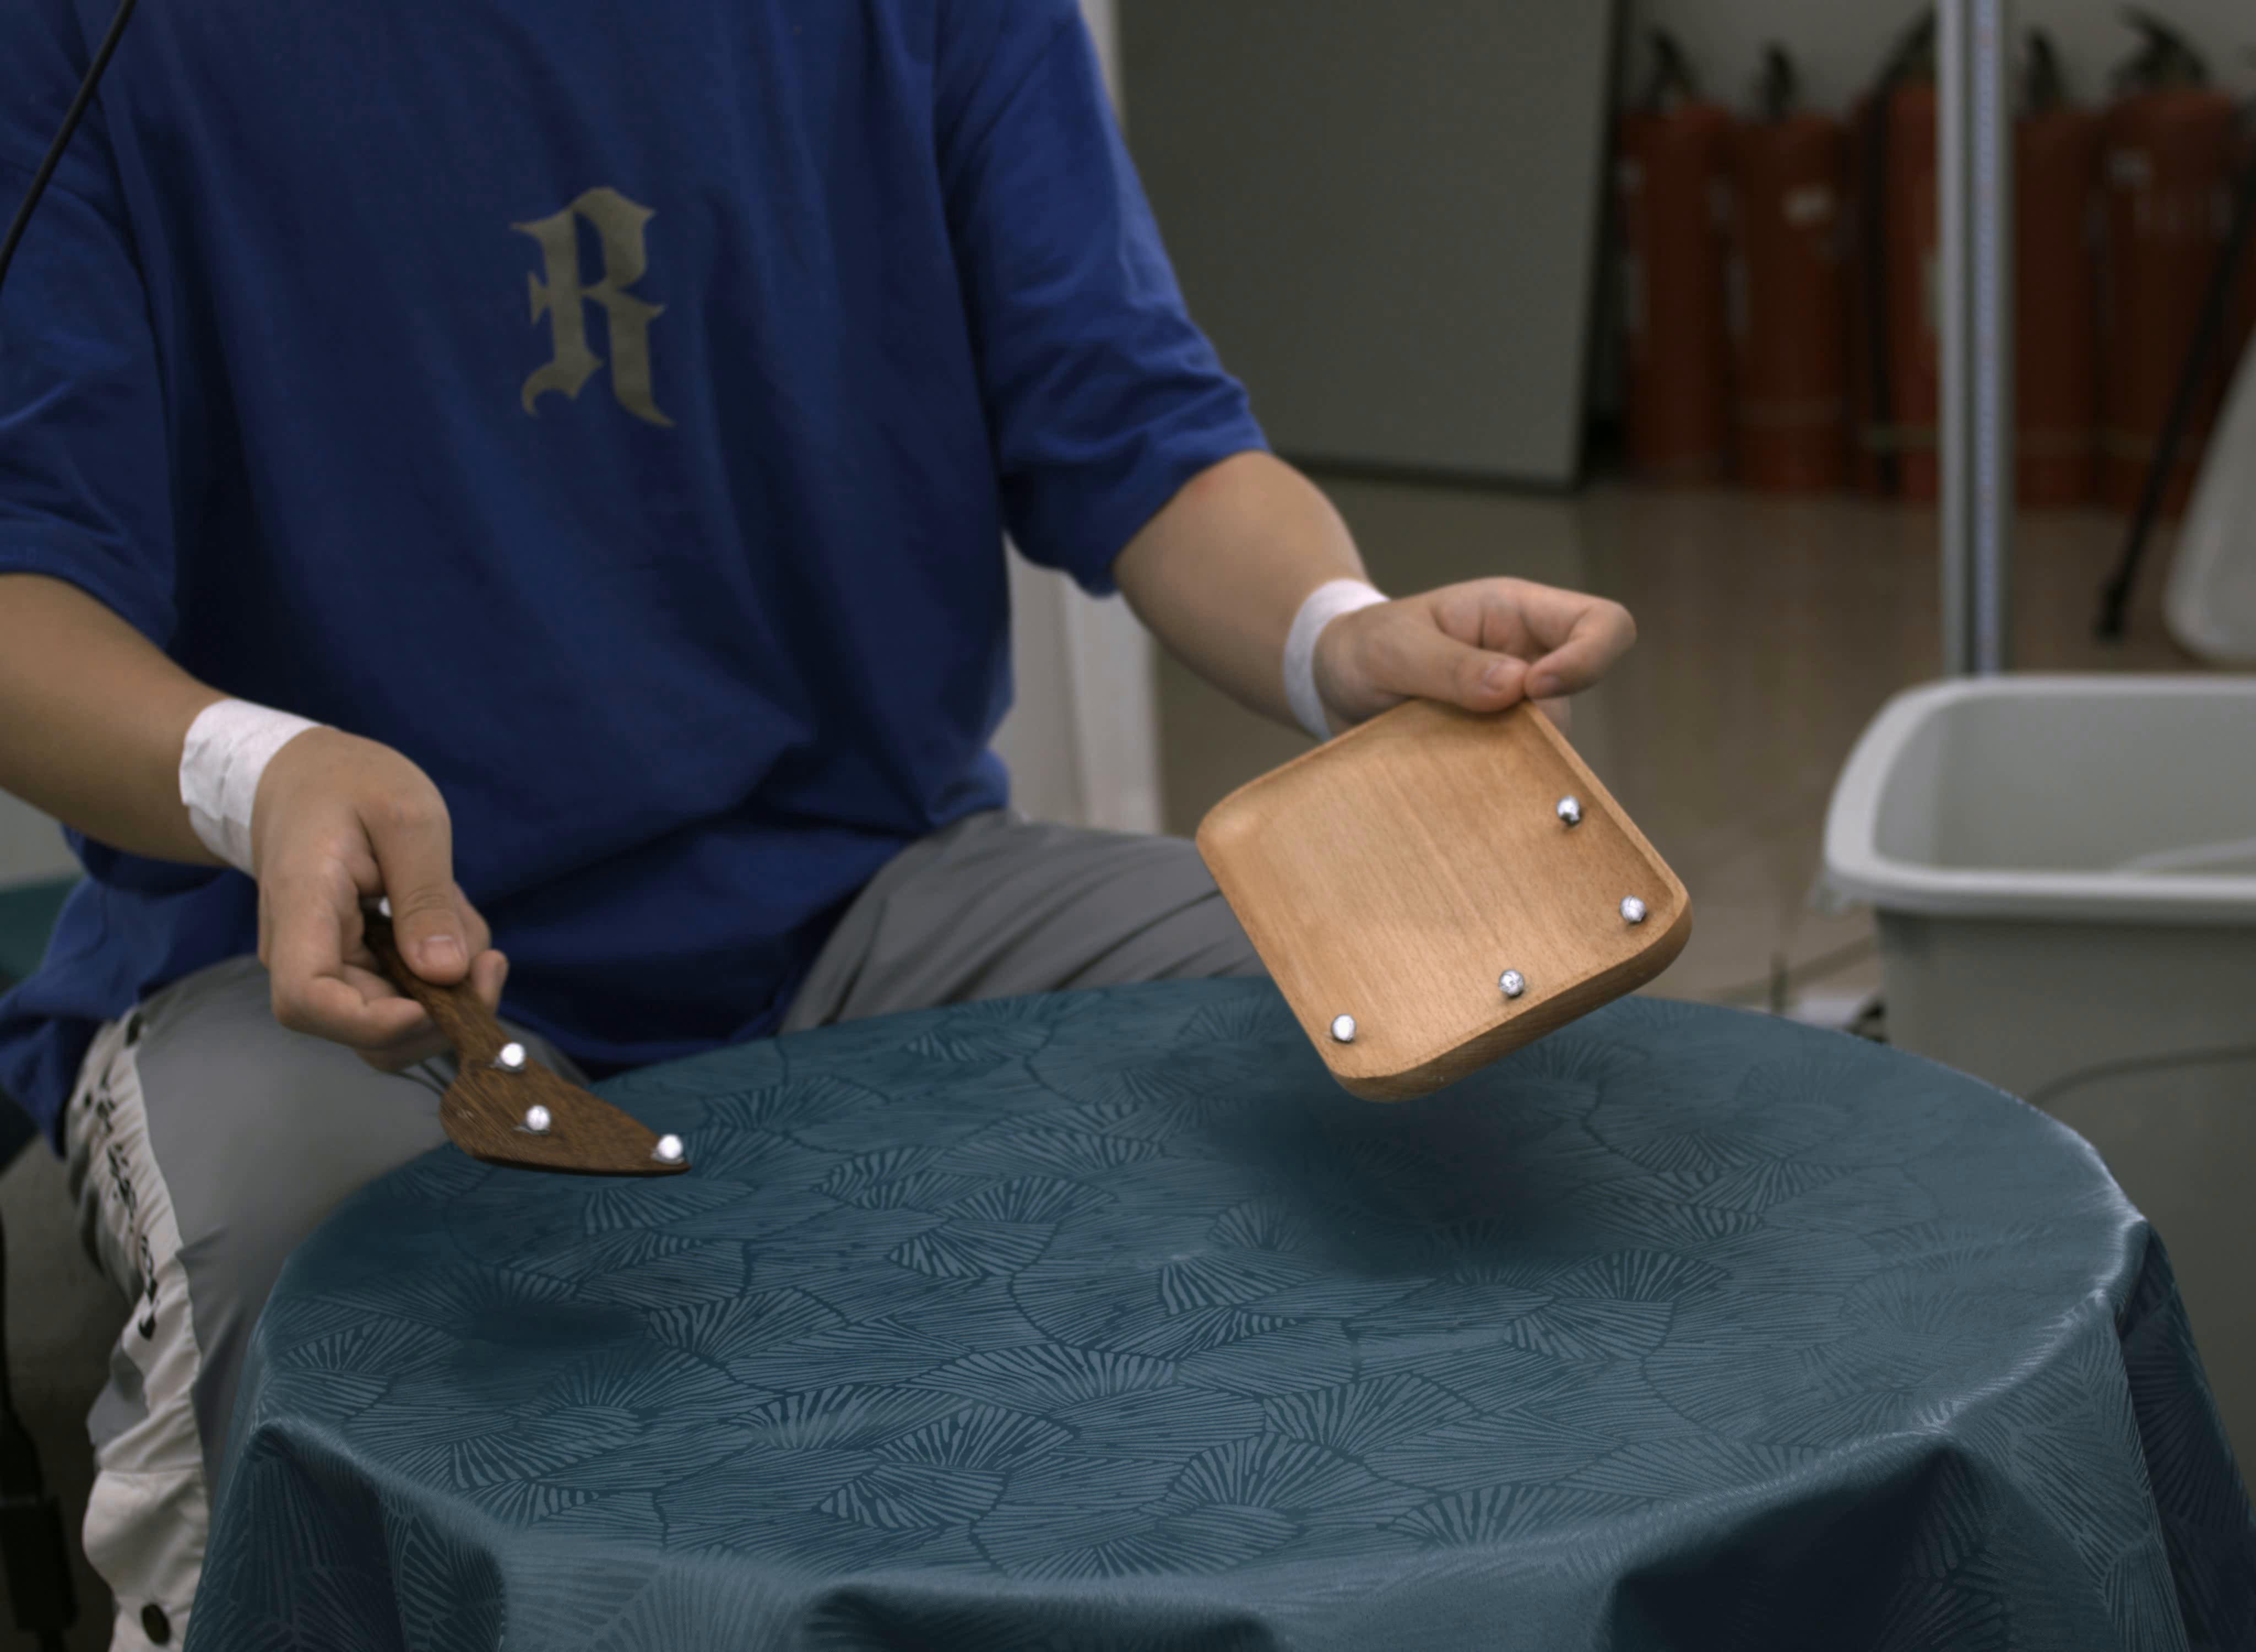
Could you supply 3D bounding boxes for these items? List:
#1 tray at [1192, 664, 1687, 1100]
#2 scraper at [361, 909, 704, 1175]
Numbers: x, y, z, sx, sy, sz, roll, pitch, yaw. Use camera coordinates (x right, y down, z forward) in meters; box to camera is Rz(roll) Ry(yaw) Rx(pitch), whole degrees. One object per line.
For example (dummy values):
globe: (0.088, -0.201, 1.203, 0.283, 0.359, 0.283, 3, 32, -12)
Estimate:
tray: (0.100, 0.016, 1.775, 0.129, 0.023, 0.252, -25, 23, -1)
scraper: (-0.202, 0.068, 1.727, 0.074, 0.011, 0.213, 4, 20, -27)
